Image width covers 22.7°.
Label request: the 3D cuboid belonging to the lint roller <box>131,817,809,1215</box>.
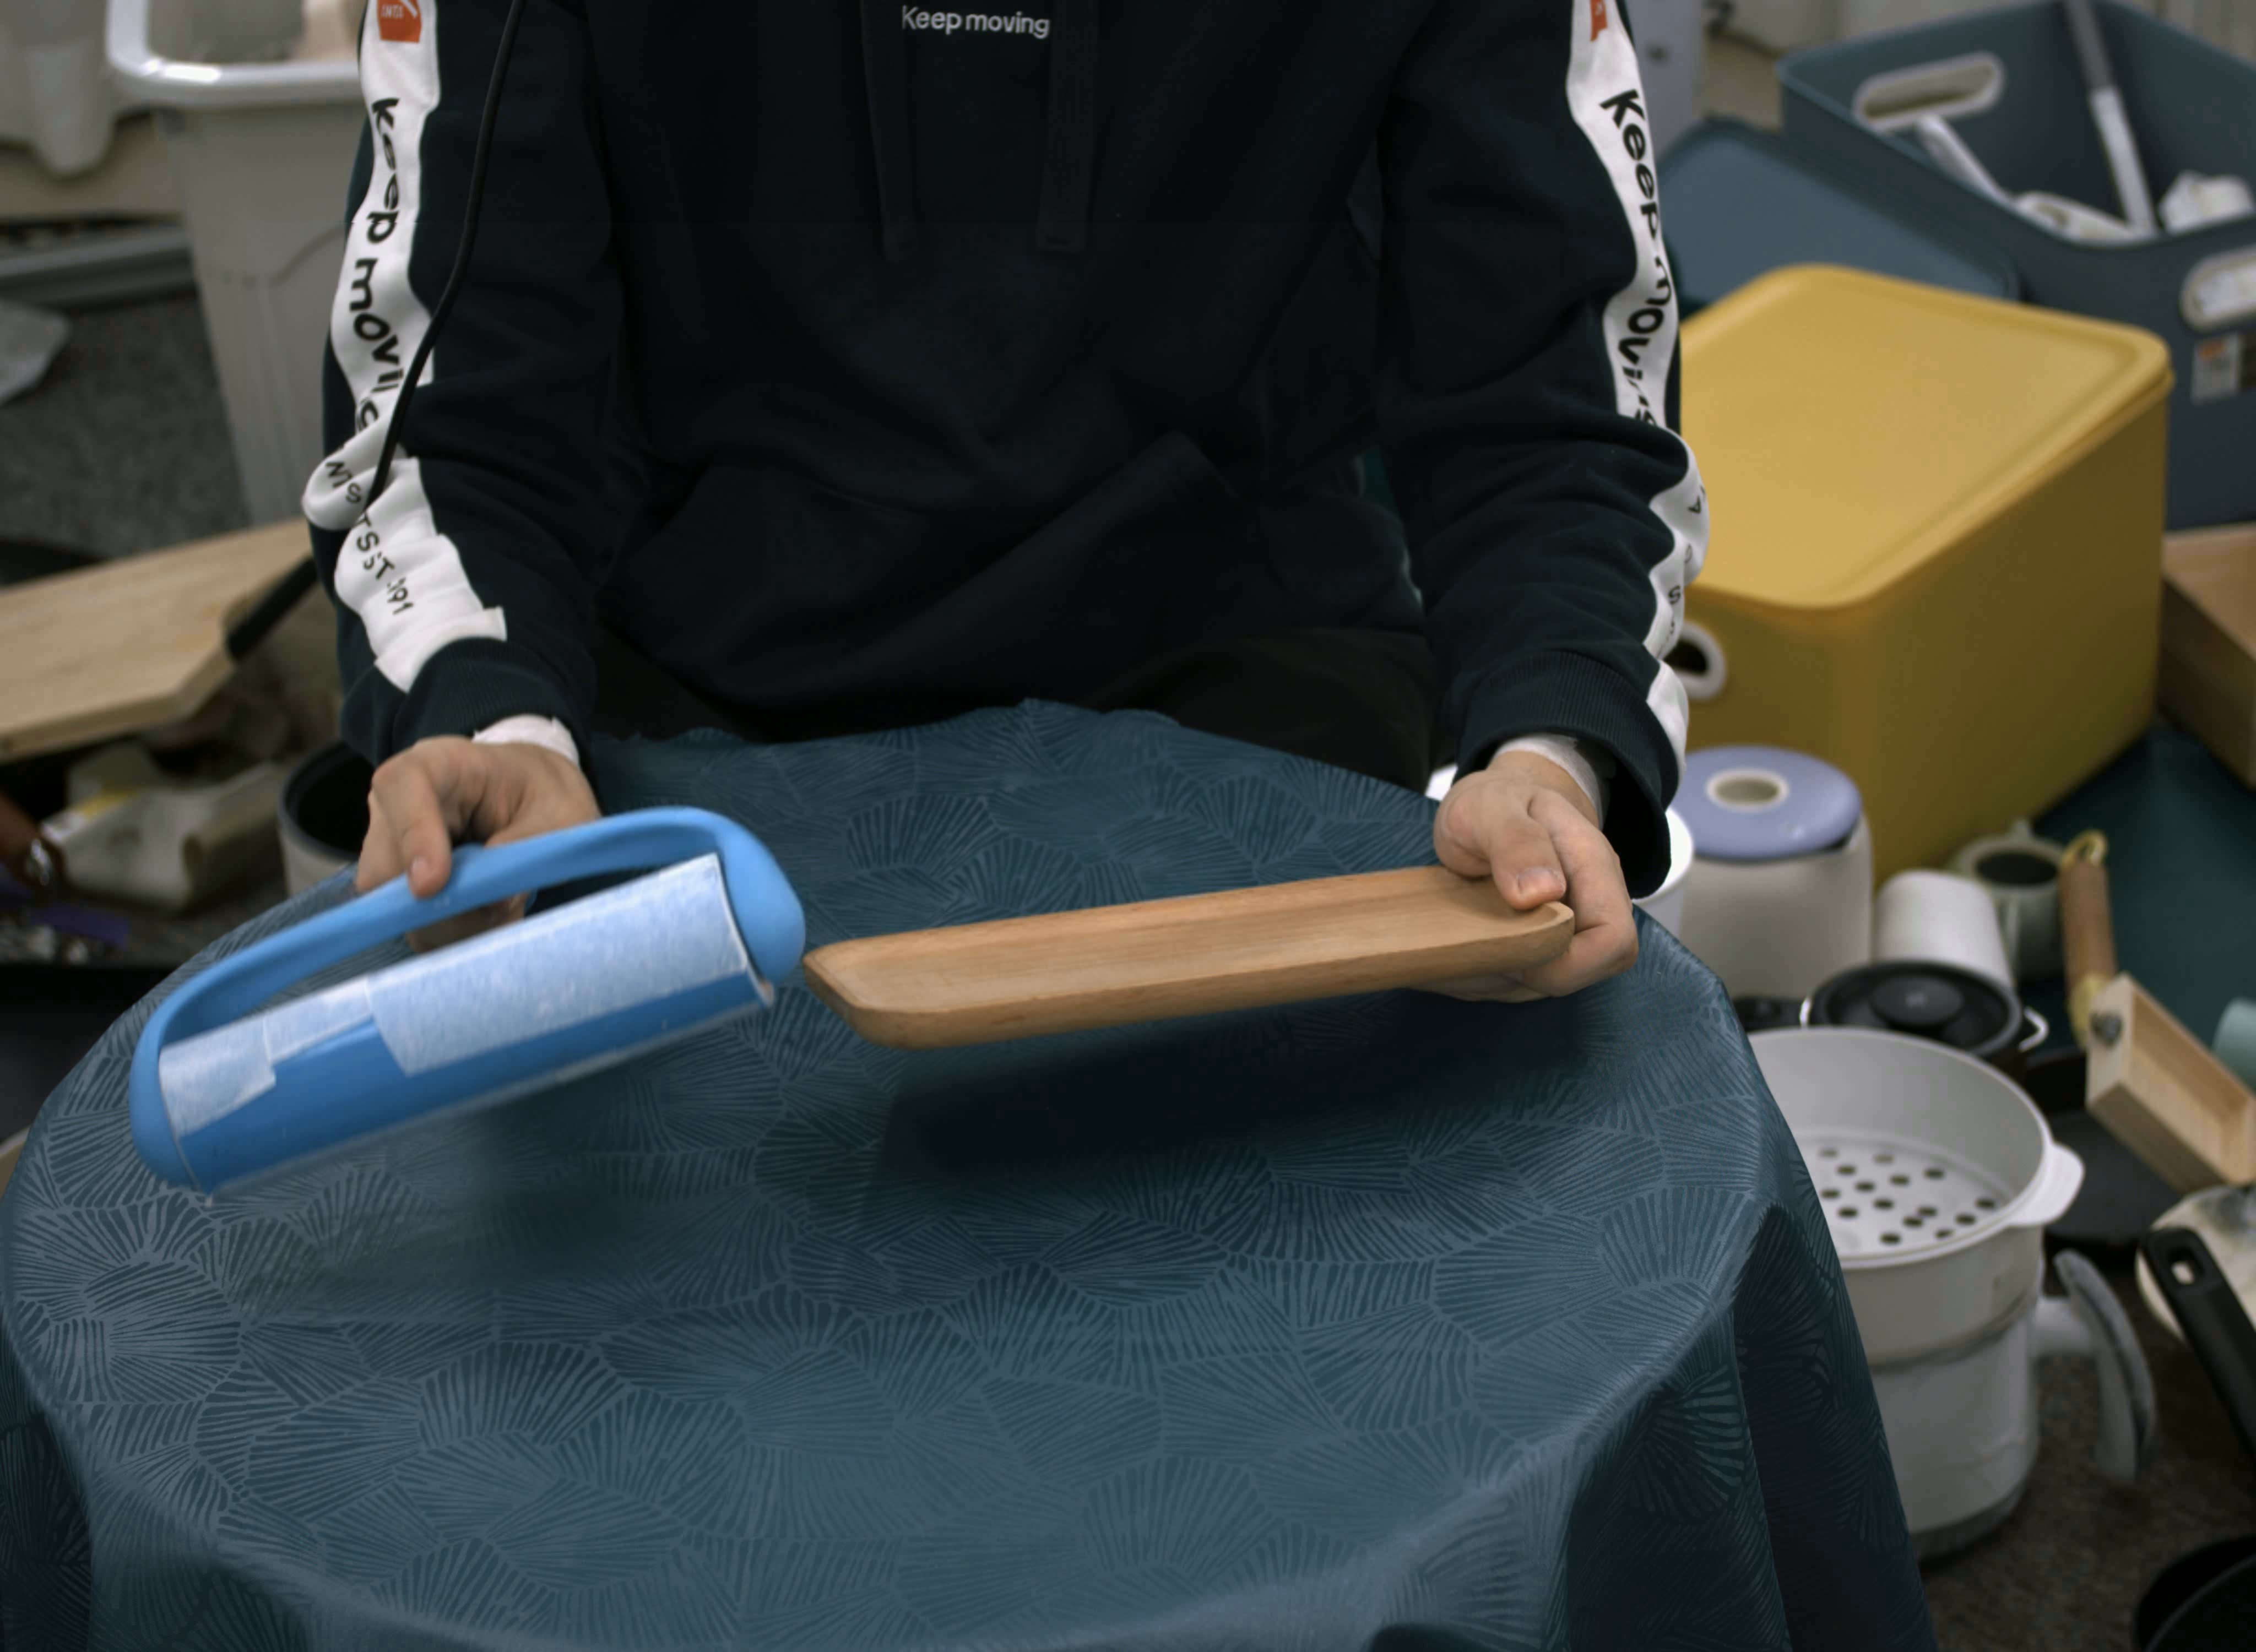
[{"bbox_3d":[-0.219,0.044,1.857,0.228,0.067,0.182,-22,23,0],"label":"lint roller"}]

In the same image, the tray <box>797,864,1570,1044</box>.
[{"bbox_3d":[0.018,0.043,1.891,0.251,0.023,0.130,-7,8,-14],"label":"tray"}]
